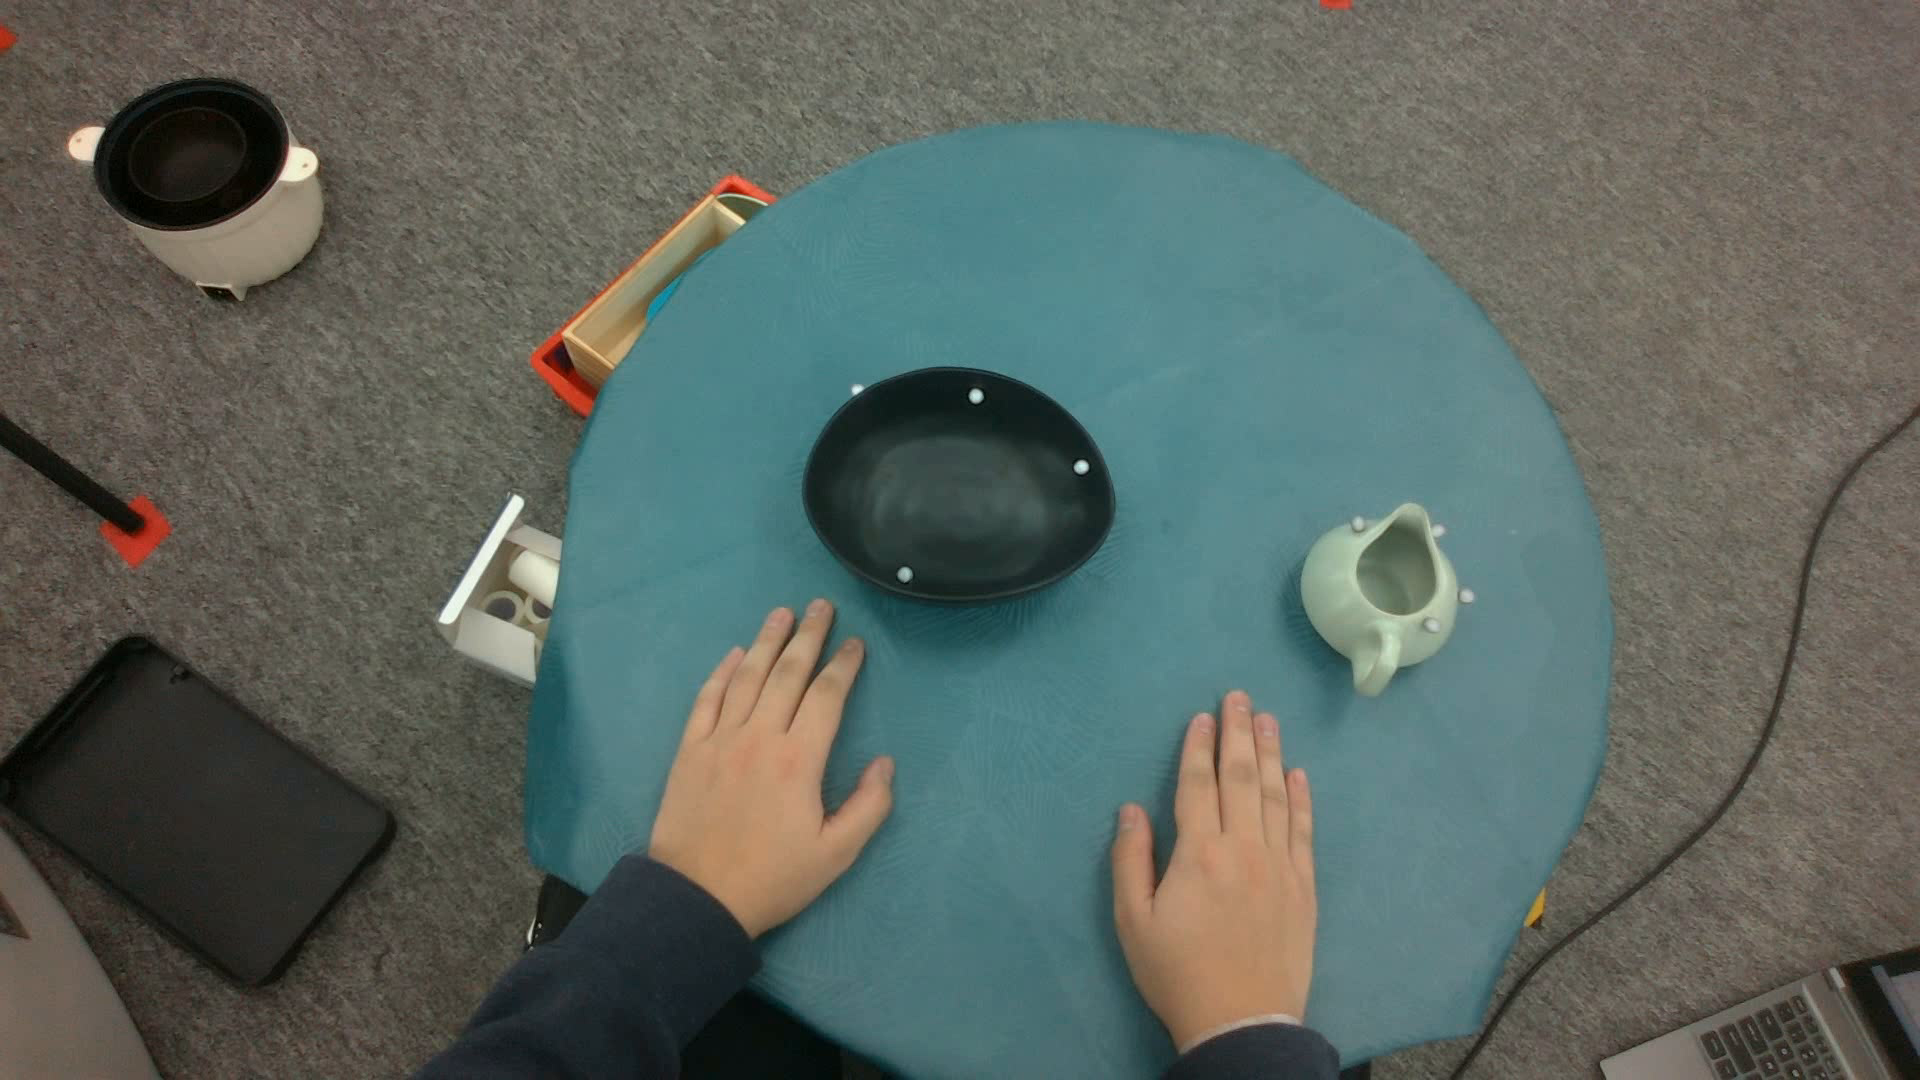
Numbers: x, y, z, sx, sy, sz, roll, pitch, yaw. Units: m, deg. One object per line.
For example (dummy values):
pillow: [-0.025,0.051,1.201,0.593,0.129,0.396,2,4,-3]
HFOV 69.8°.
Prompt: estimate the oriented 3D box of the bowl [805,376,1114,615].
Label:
bowl: [0.000,-0.018,0.772,0.170,0.066,0.138,3,69,-3]

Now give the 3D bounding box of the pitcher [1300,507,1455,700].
pitcher: [0.233,0.039,0.766,0.086,0.060,0.108,14,70,4]
